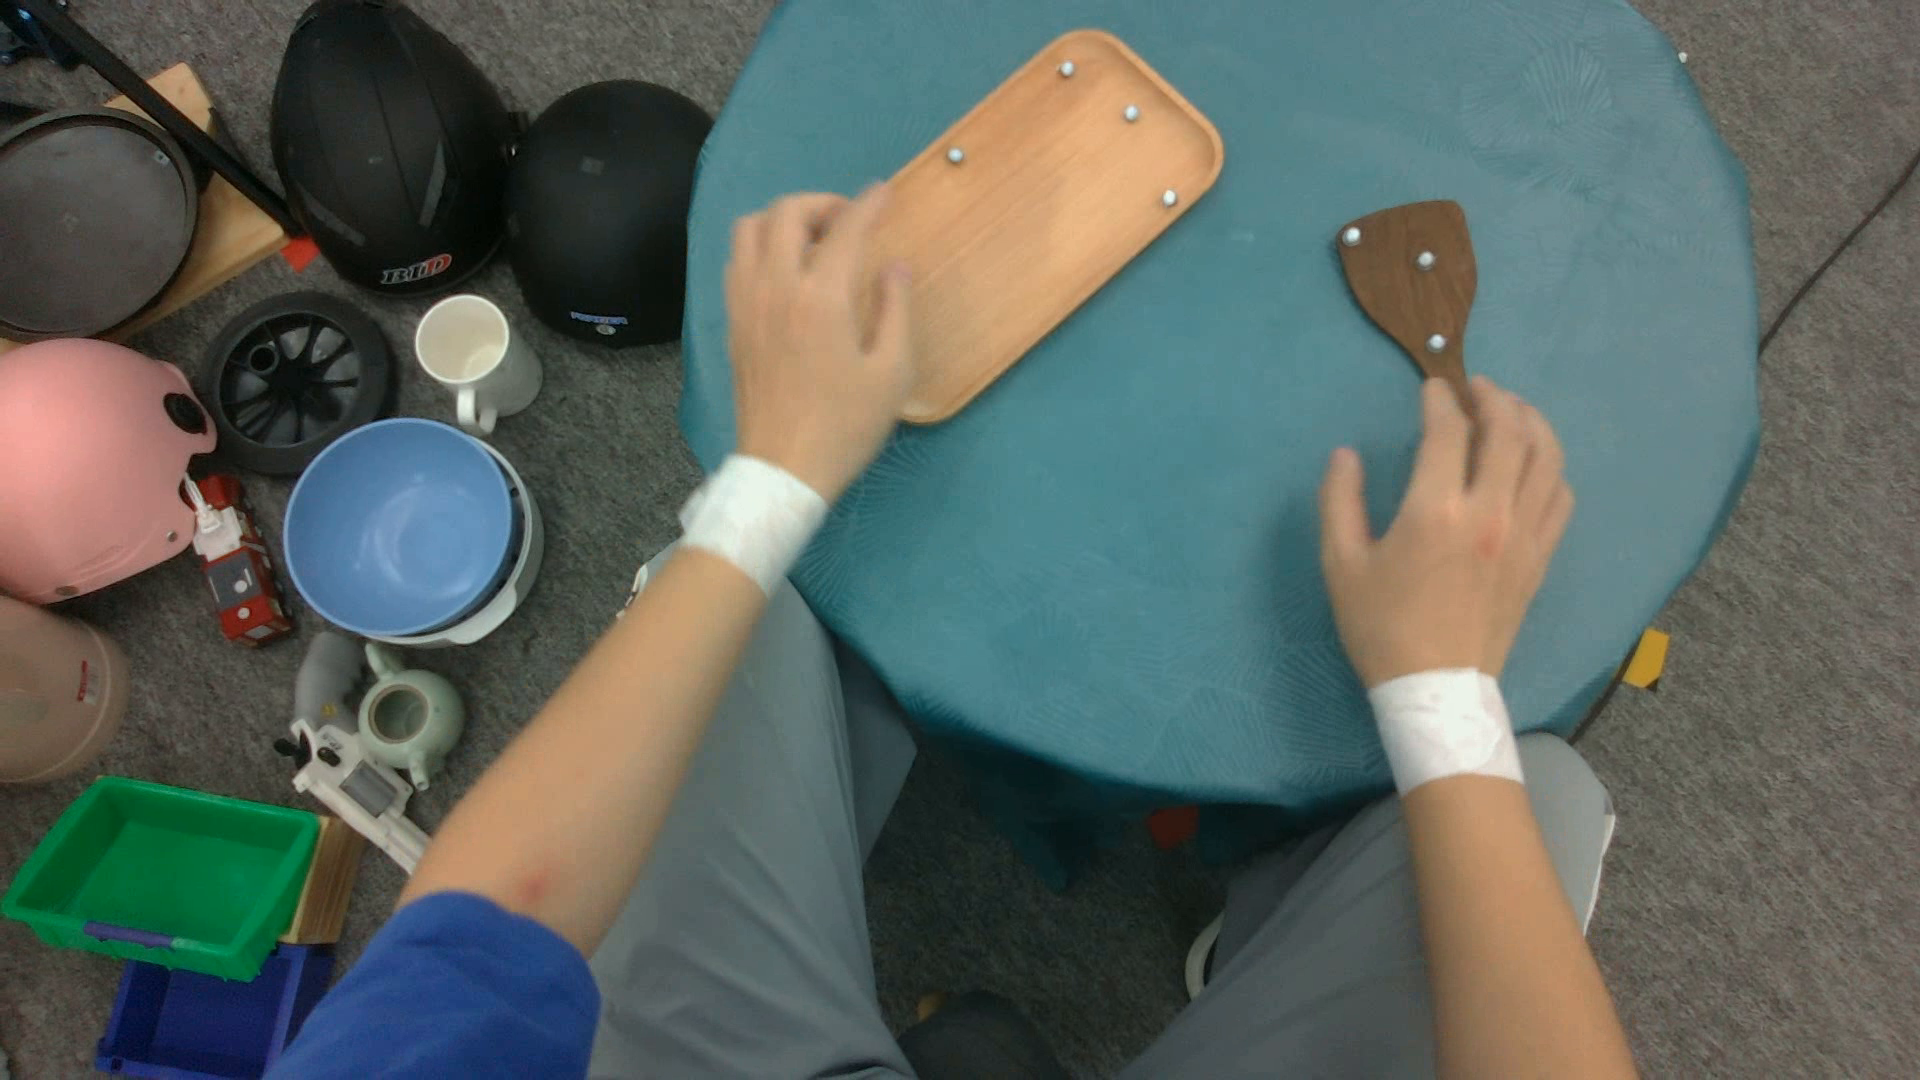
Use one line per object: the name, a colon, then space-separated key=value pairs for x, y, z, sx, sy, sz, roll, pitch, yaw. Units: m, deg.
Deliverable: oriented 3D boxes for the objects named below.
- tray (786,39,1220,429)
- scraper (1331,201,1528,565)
tray: x=0.026 y=-0.176 z=0.783 sx=0.251 sy=0.023 sz=0.130 roll=-42 pitch=75 yaw=-9
scraper: x=0.267 y=-0.088 z=0.758 sx=0.076 sy=0.011 sz=0.211 roll=-13 pitch=76 yaw=-2
